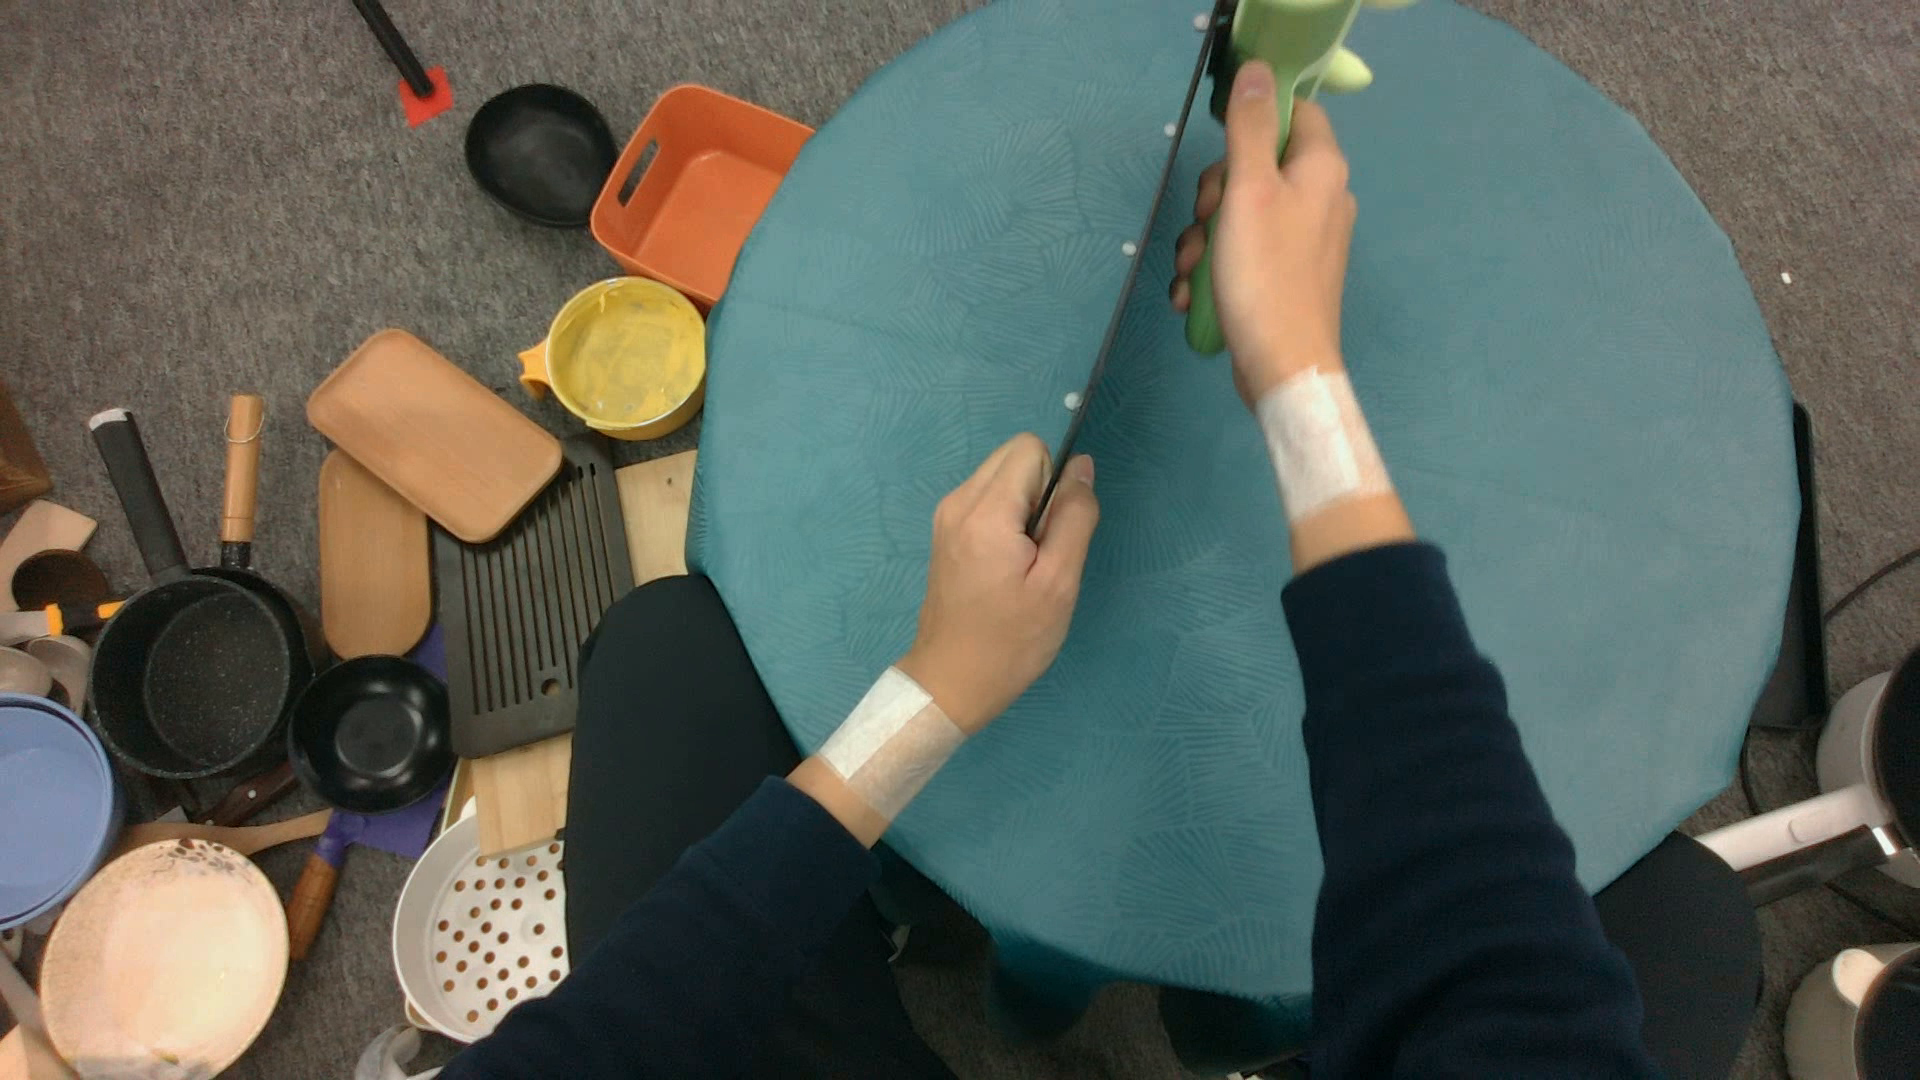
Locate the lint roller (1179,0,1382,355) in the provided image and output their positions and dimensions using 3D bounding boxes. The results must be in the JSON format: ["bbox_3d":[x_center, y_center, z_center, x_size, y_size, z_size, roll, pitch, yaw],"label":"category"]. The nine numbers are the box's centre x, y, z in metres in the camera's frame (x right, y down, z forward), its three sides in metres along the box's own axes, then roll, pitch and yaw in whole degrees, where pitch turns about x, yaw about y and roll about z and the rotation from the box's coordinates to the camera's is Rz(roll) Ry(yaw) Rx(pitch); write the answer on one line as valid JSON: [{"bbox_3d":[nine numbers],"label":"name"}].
[{"bbox_3d":[0.136,-0.175,0.608,0.082,0.199,0.183,-2,93,6],"label":"lint roller"}]

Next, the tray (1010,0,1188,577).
[{"bbox_3d":[0.071,-0.139,0.665,0.010,0.210,0.326,17,75,3],"label":"tray"}]
